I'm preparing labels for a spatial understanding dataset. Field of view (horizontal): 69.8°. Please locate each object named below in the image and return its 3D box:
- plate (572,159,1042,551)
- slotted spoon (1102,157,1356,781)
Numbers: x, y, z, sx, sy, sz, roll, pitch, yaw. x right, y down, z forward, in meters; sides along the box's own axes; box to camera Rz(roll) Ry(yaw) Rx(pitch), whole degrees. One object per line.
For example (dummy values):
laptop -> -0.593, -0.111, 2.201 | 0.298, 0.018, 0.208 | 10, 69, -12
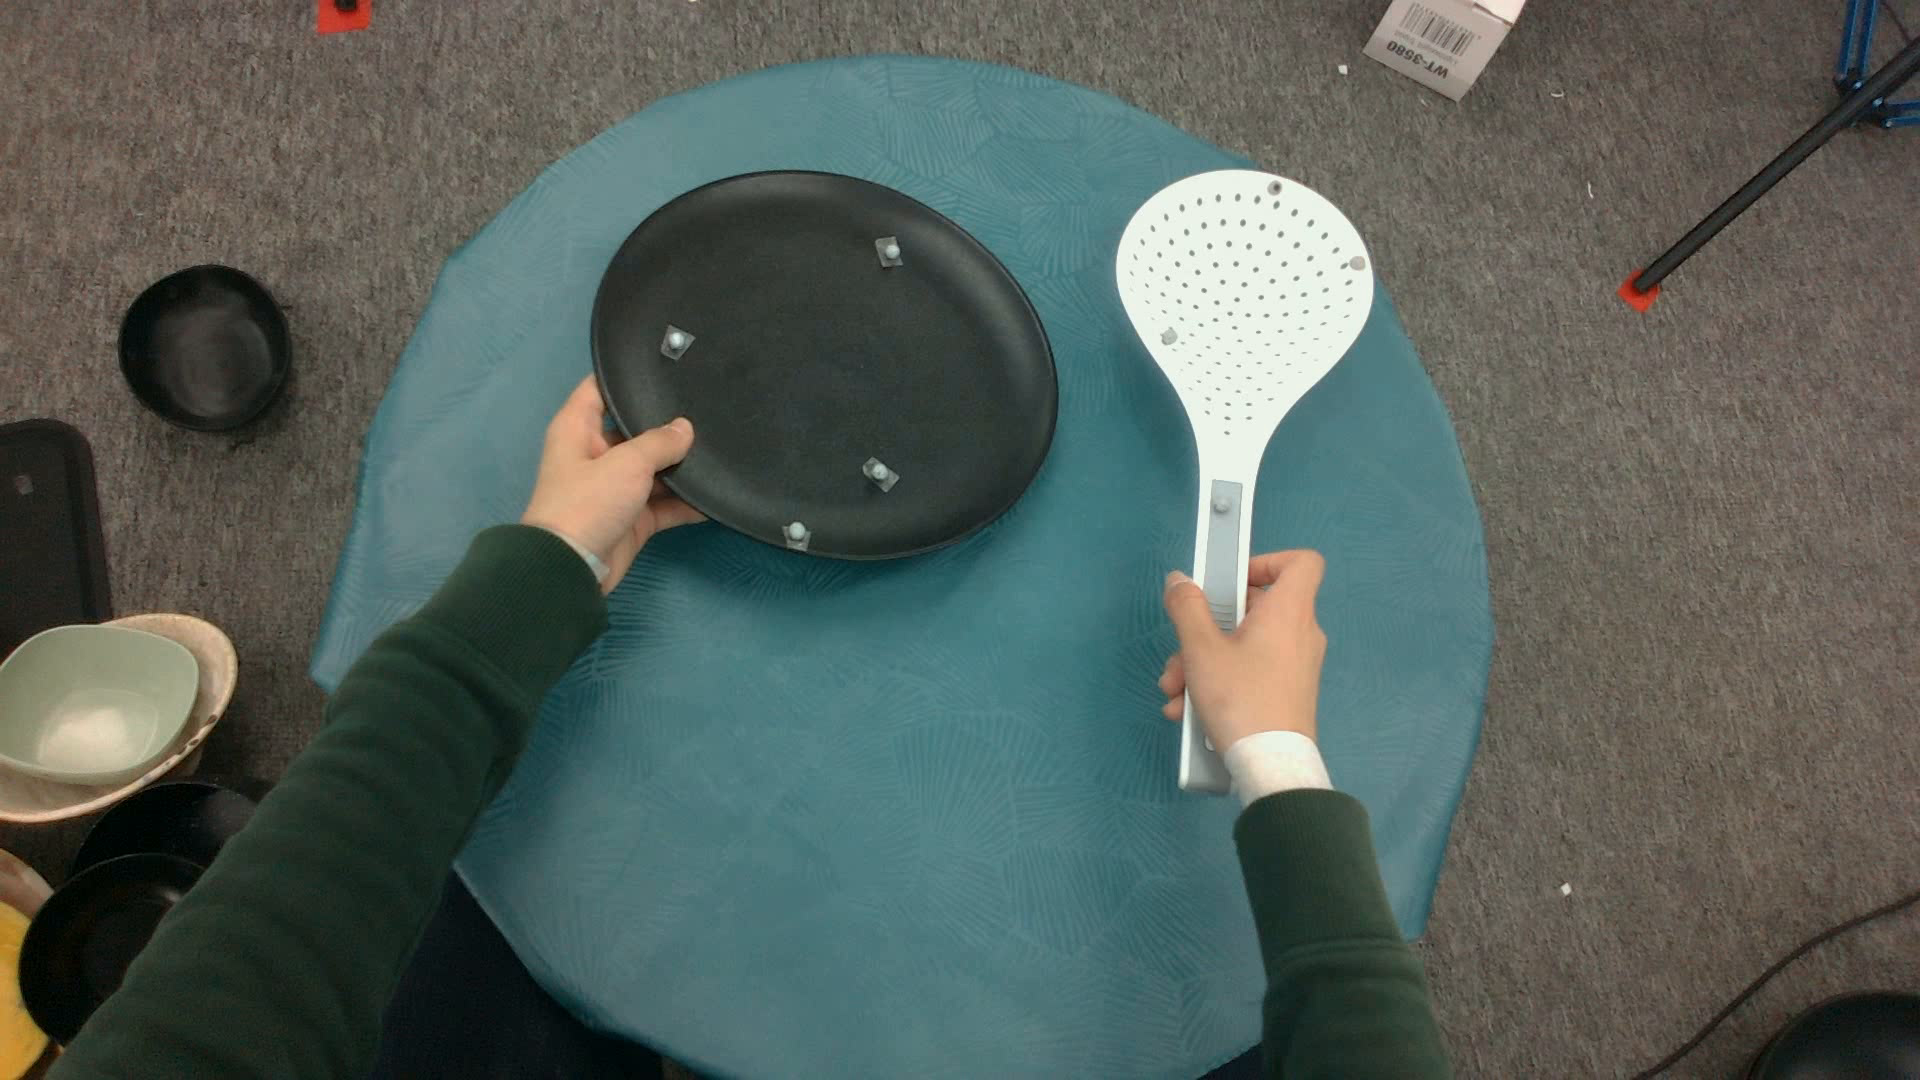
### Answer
plate -> -0.075, -0.098, 0.714 | 0.244, 0.023, 0.245 | 8, 59, -14
slotted spoon -> 0.129, -0.050, 0.700 | 0.136, 0.045, 0.351 | 7, 61, 3
